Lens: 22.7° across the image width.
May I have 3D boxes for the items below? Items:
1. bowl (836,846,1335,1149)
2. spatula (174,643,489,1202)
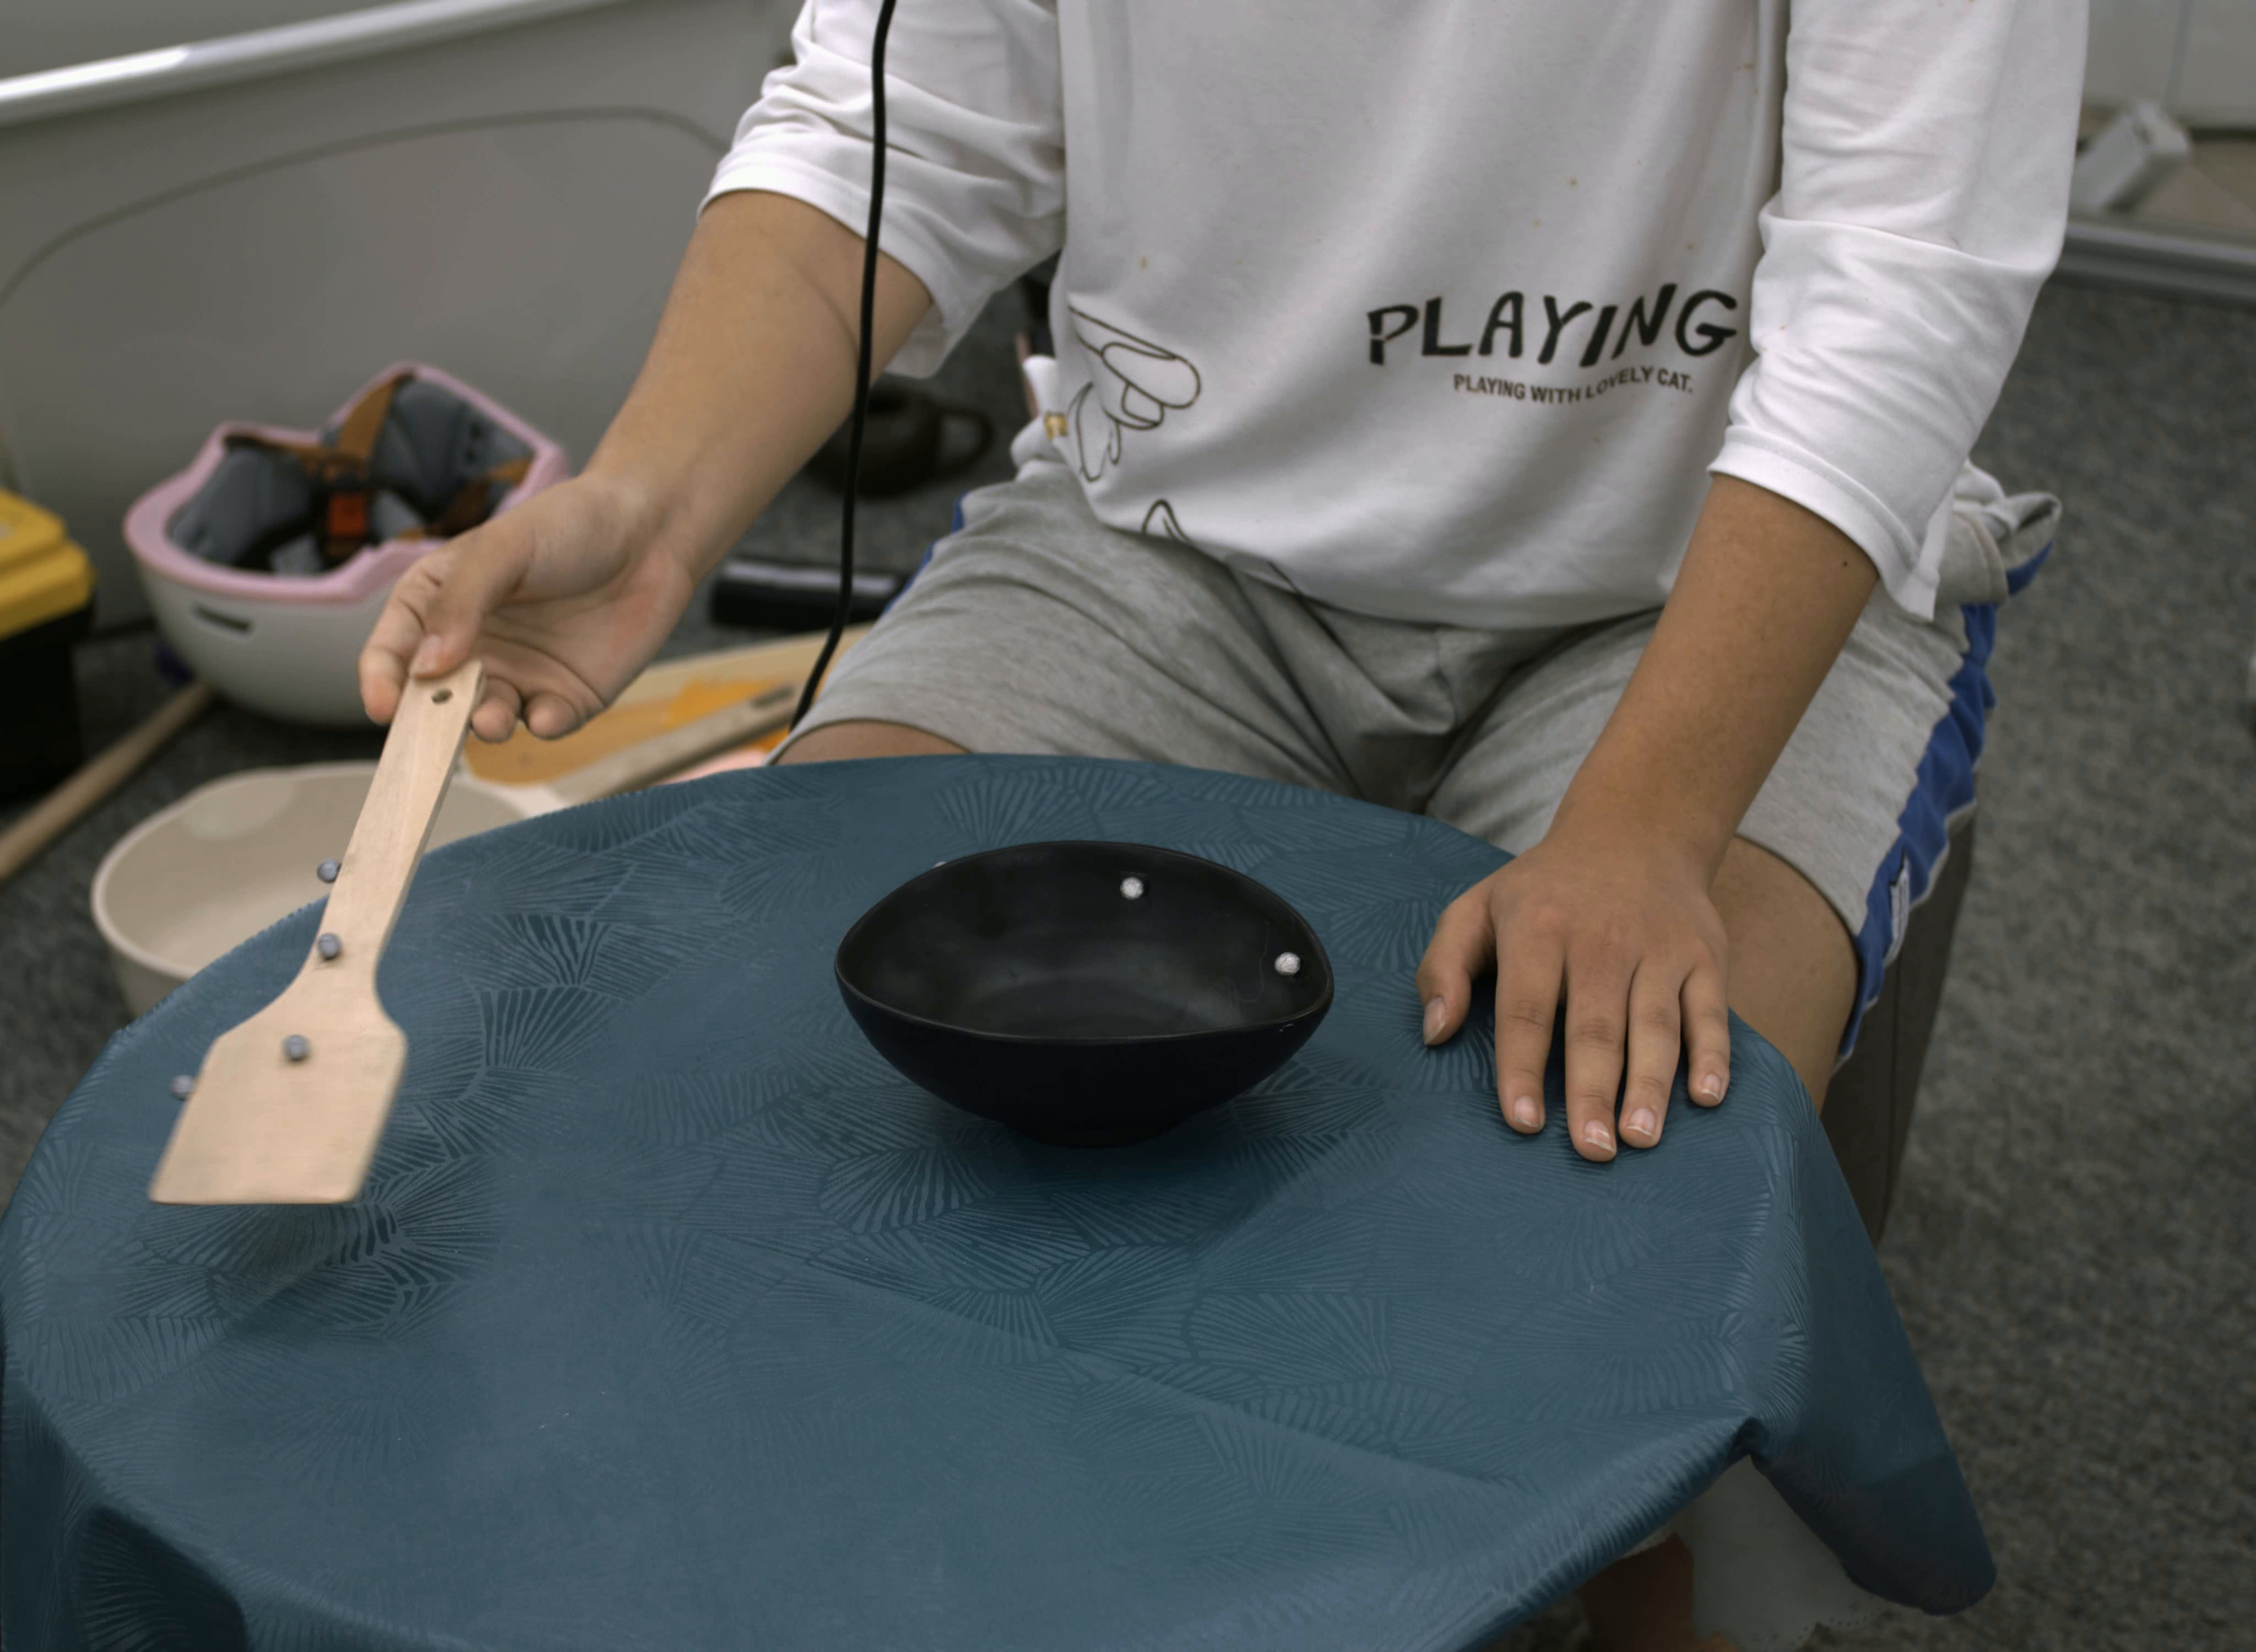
[{"bbox_3d":[-0.014,0.065,1.907,0.169,0.066,0.139,3,27,6],"label":"bowl"},{"bbox_3d":[-0.260,0.030,1.922,0.072,0.010,0.299,-2,39,9],"label":"spatula"}]
